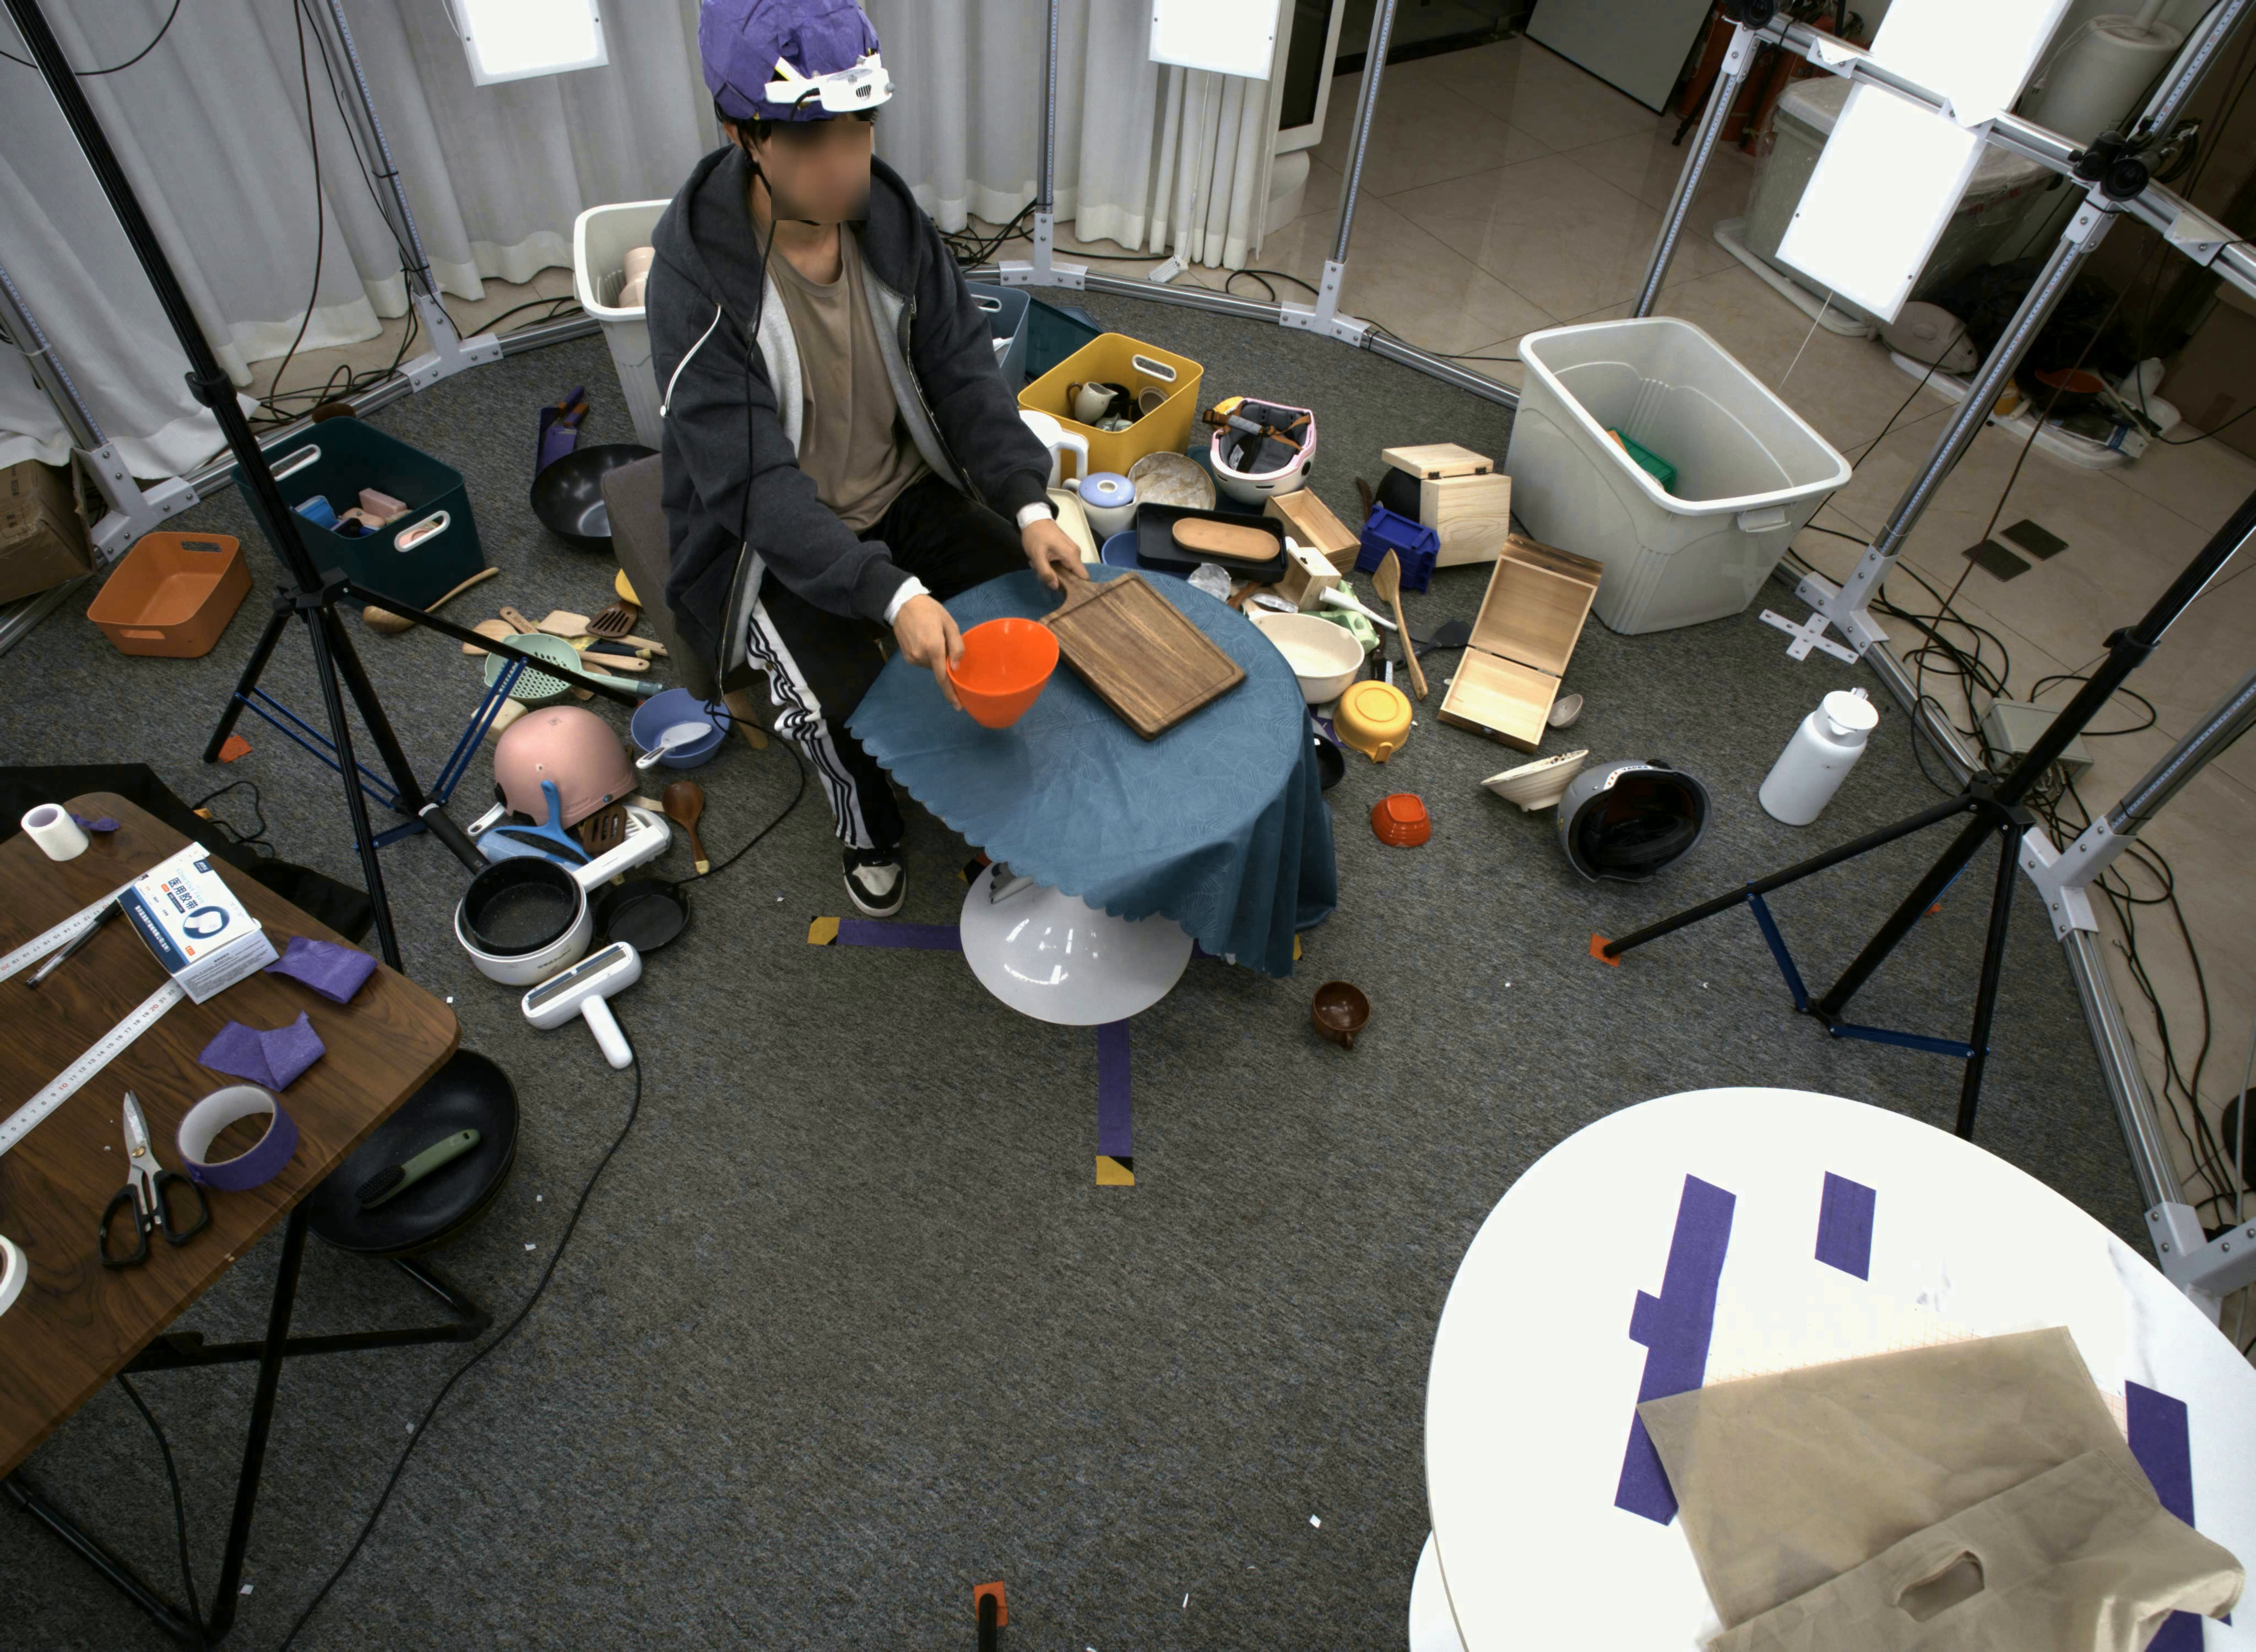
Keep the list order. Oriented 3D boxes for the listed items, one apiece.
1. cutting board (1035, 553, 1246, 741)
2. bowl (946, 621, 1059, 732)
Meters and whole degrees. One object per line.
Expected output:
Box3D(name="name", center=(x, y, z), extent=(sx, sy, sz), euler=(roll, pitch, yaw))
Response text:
Box3D(name="cutting board", center=(-0.013, -0.284, 1.869), extent=(0.202, 0.023, 0.357), euler=(-33, 66, -29))
Box3D(name="bowl", center=(-0.165, -0.190, 1.709), extent=(0.148, 0.102, 0.152), euler=(2, 43, -2))
